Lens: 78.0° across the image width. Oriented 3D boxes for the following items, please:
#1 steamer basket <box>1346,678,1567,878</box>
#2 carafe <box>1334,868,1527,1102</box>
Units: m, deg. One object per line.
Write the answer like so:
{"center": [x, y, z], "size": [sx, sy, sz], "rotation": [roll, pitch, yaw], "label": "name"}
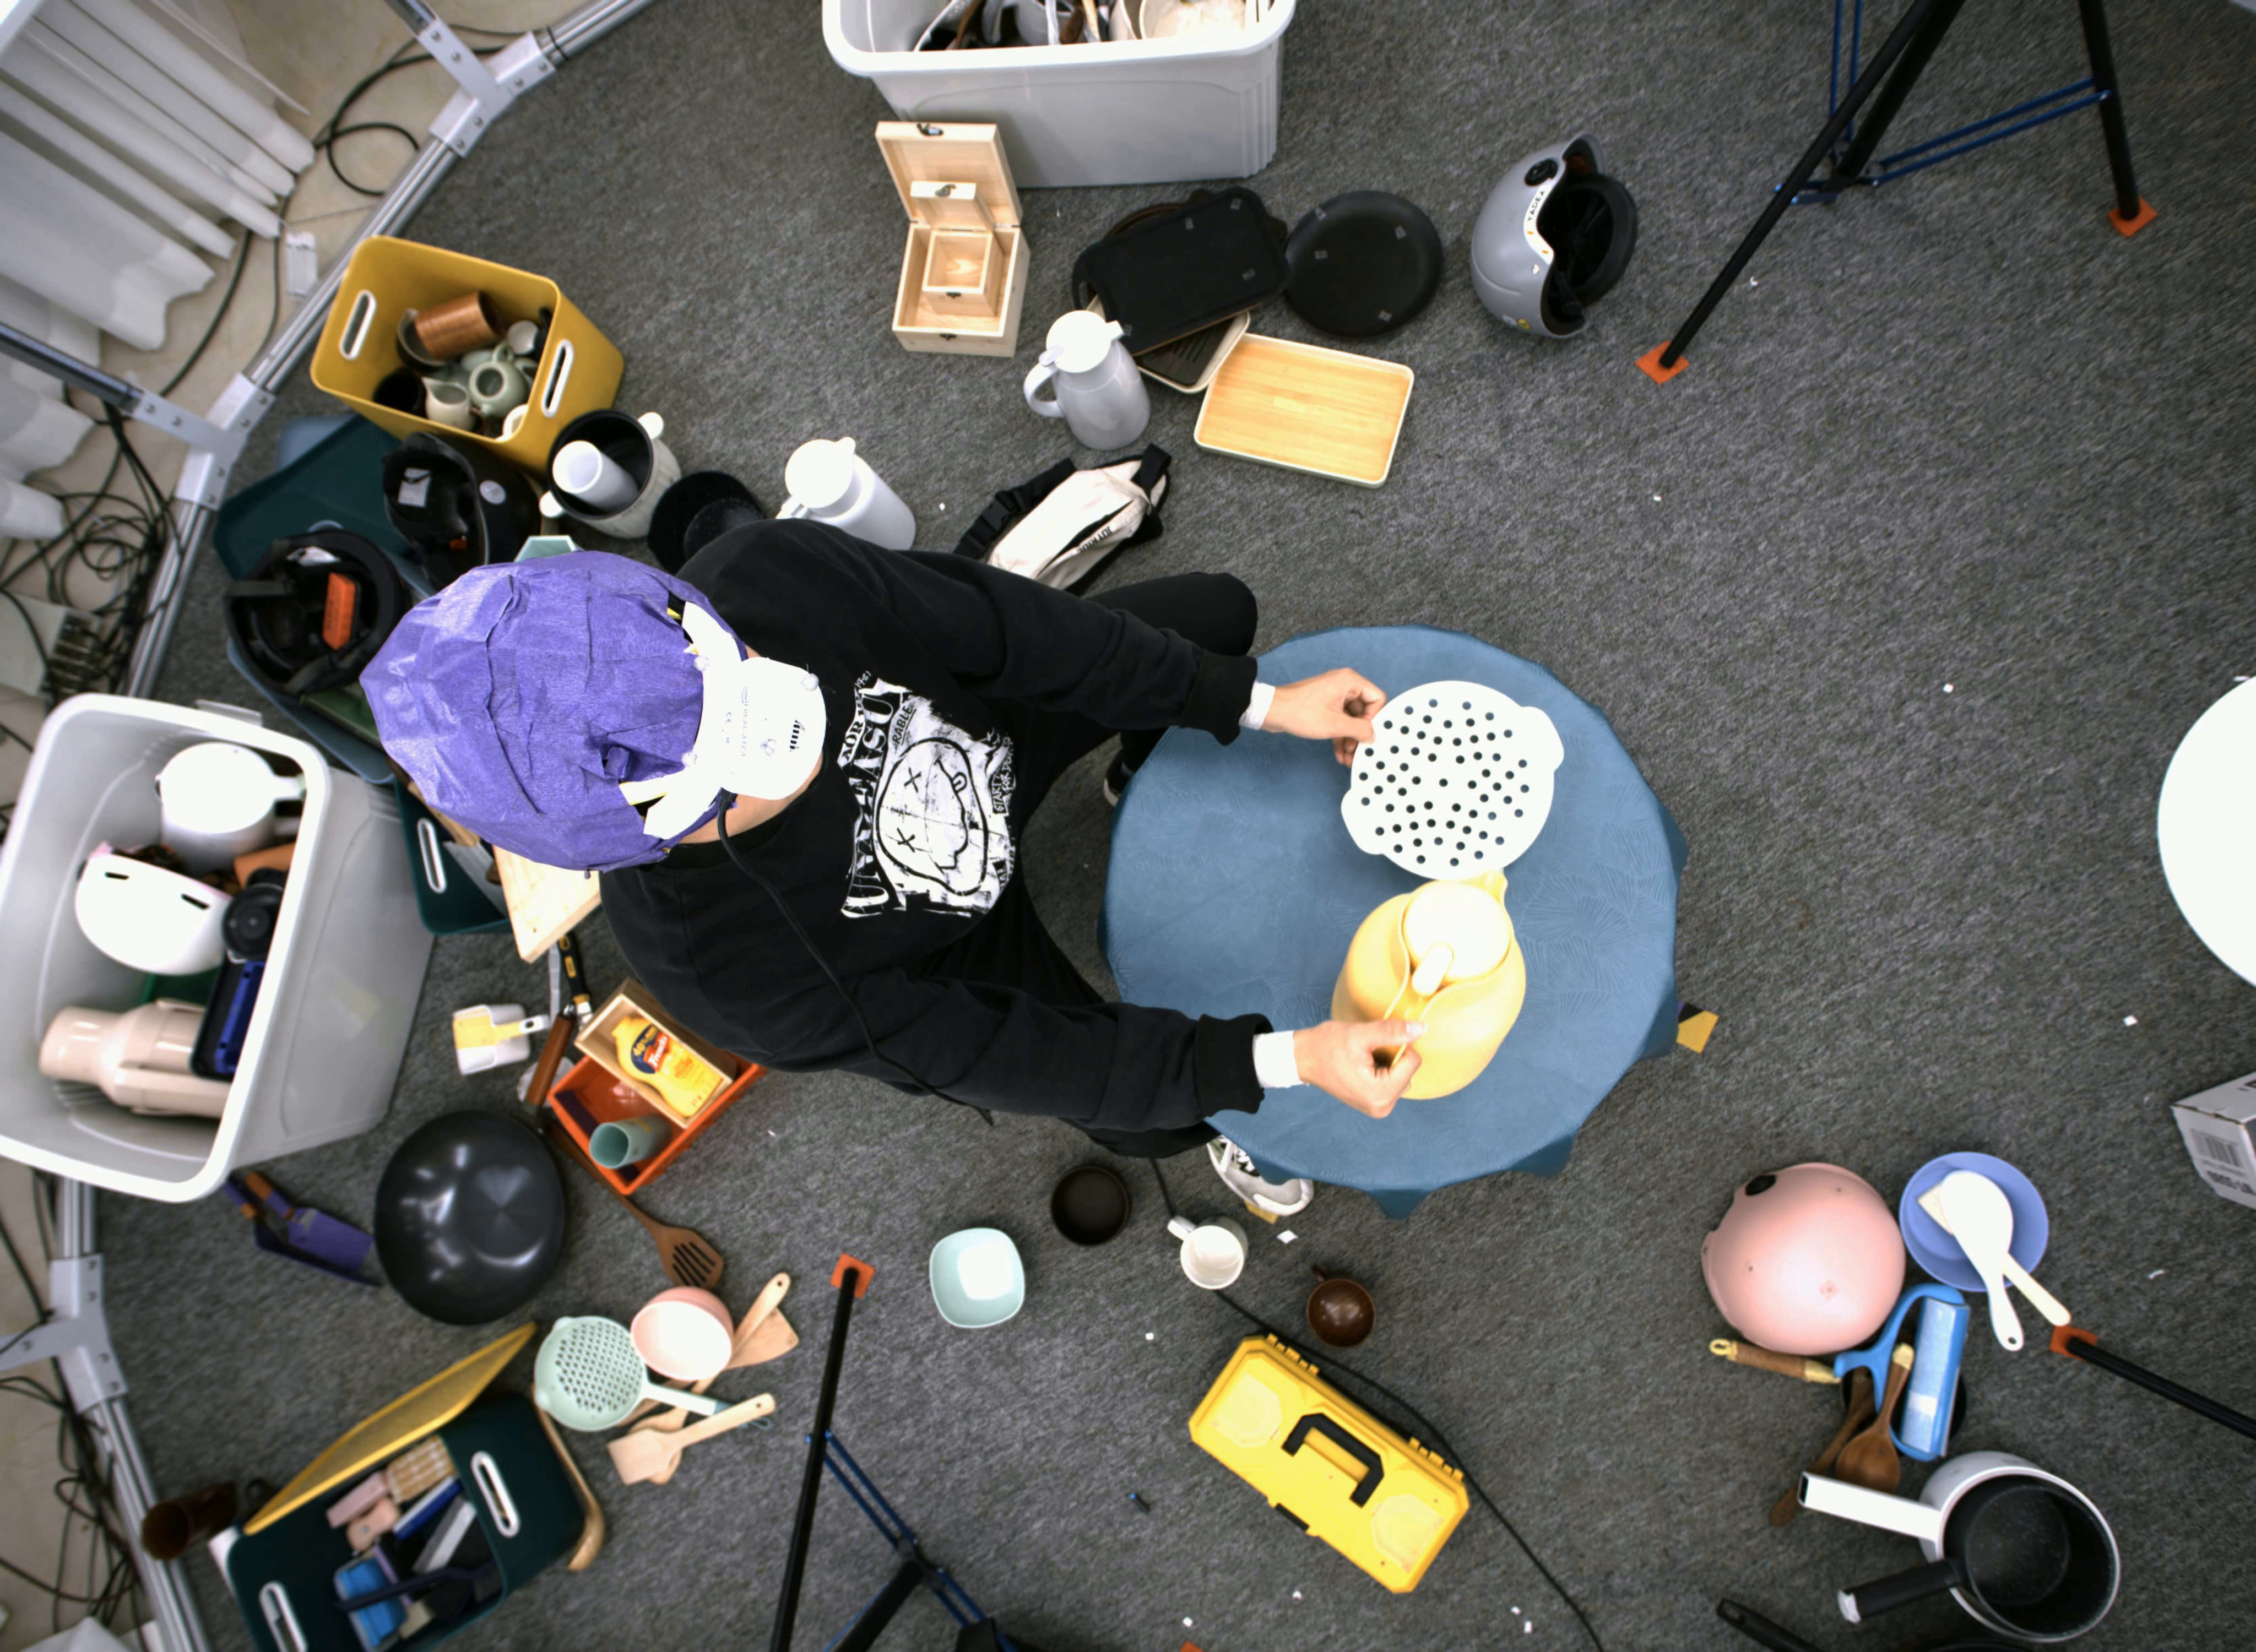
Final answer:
{"center": [0.333, -0.051, 1.411], "size": [0.231, 0.069, 0.202], "rotation": [-26, 91, 6], "label": "steamer basket"}
{"center": [0.266, 0.156, 1.253], "size": [0.163, 0.265, 0.199], "rotation": [33, 69, 19], "label": "carafe"}
